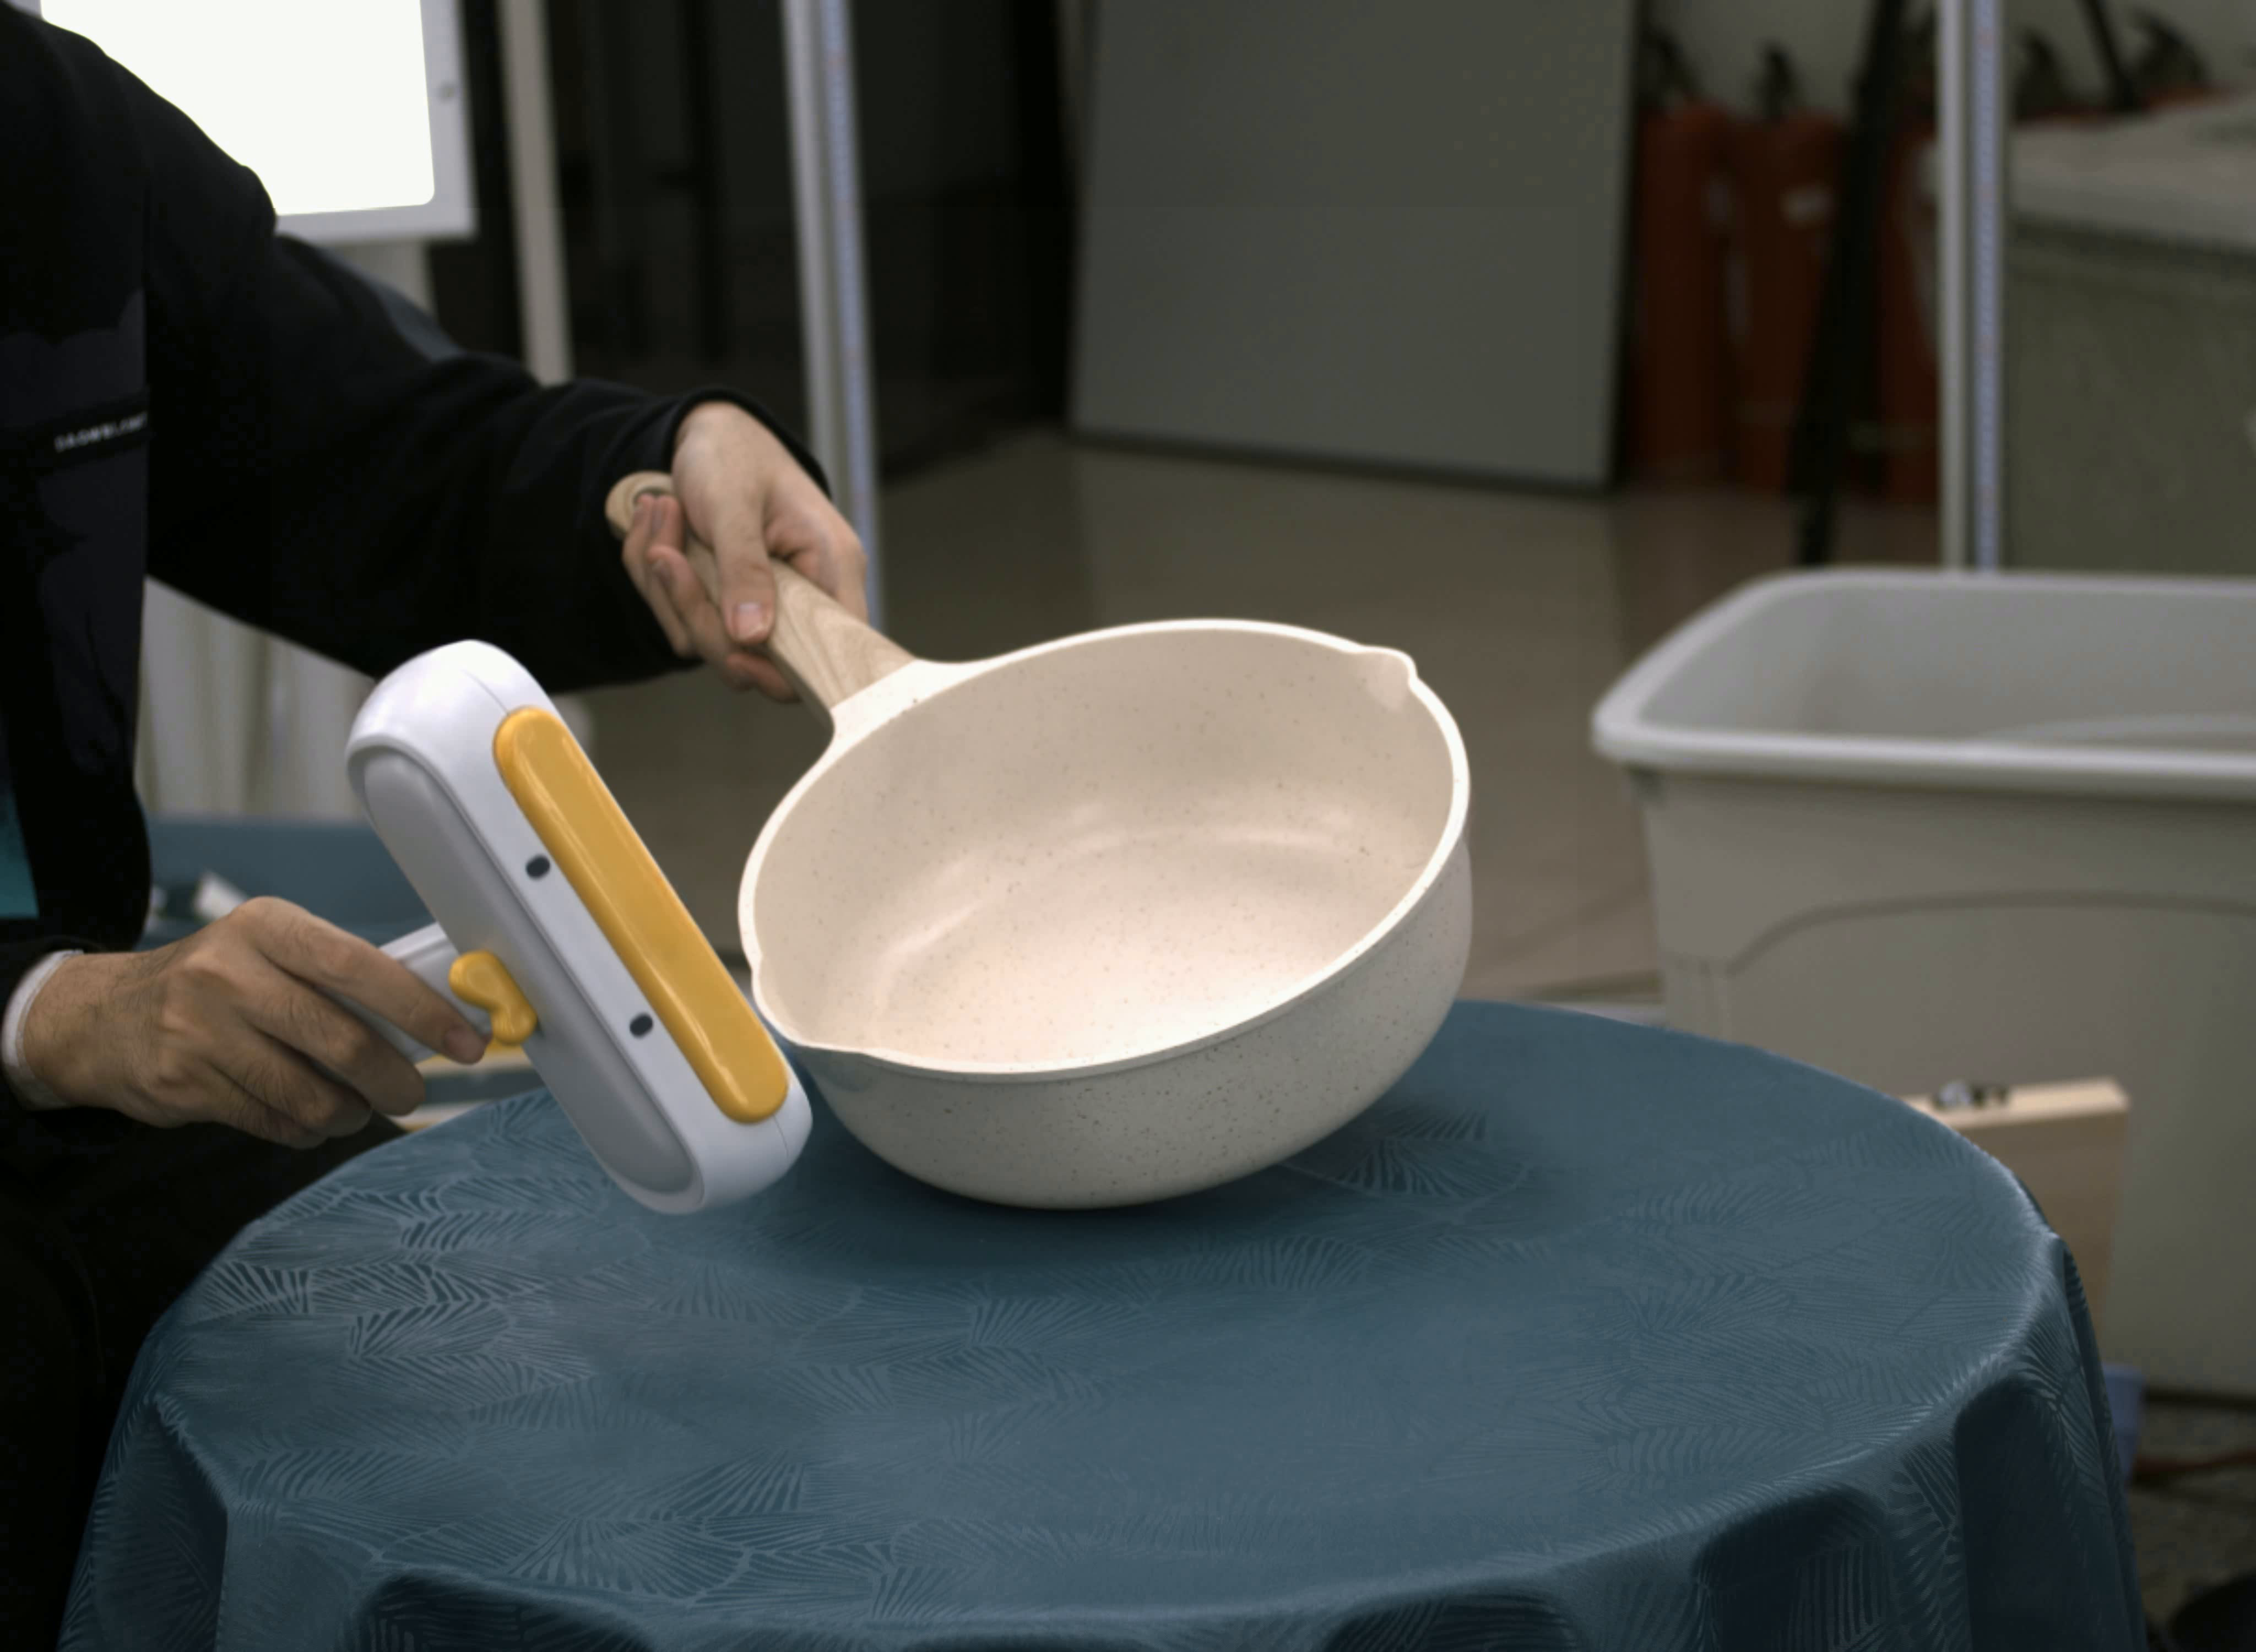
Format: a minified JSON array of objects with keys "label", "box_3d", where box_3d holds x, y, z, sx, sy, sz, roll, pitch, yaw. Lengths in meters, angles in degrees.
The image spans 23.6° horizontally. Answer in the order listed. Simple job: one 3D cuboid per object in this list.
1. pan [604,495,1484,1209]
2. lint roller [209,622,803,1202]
[{"label":"pan","box_3d":[-0.050,-0.006,1.882,0.260,0.102,0.440,-34,37,-20]},{"label":"lint roller","box_3d":[-0.208,0.047,1.648,0.194,0.192,0.073,-23,20,47]}]
